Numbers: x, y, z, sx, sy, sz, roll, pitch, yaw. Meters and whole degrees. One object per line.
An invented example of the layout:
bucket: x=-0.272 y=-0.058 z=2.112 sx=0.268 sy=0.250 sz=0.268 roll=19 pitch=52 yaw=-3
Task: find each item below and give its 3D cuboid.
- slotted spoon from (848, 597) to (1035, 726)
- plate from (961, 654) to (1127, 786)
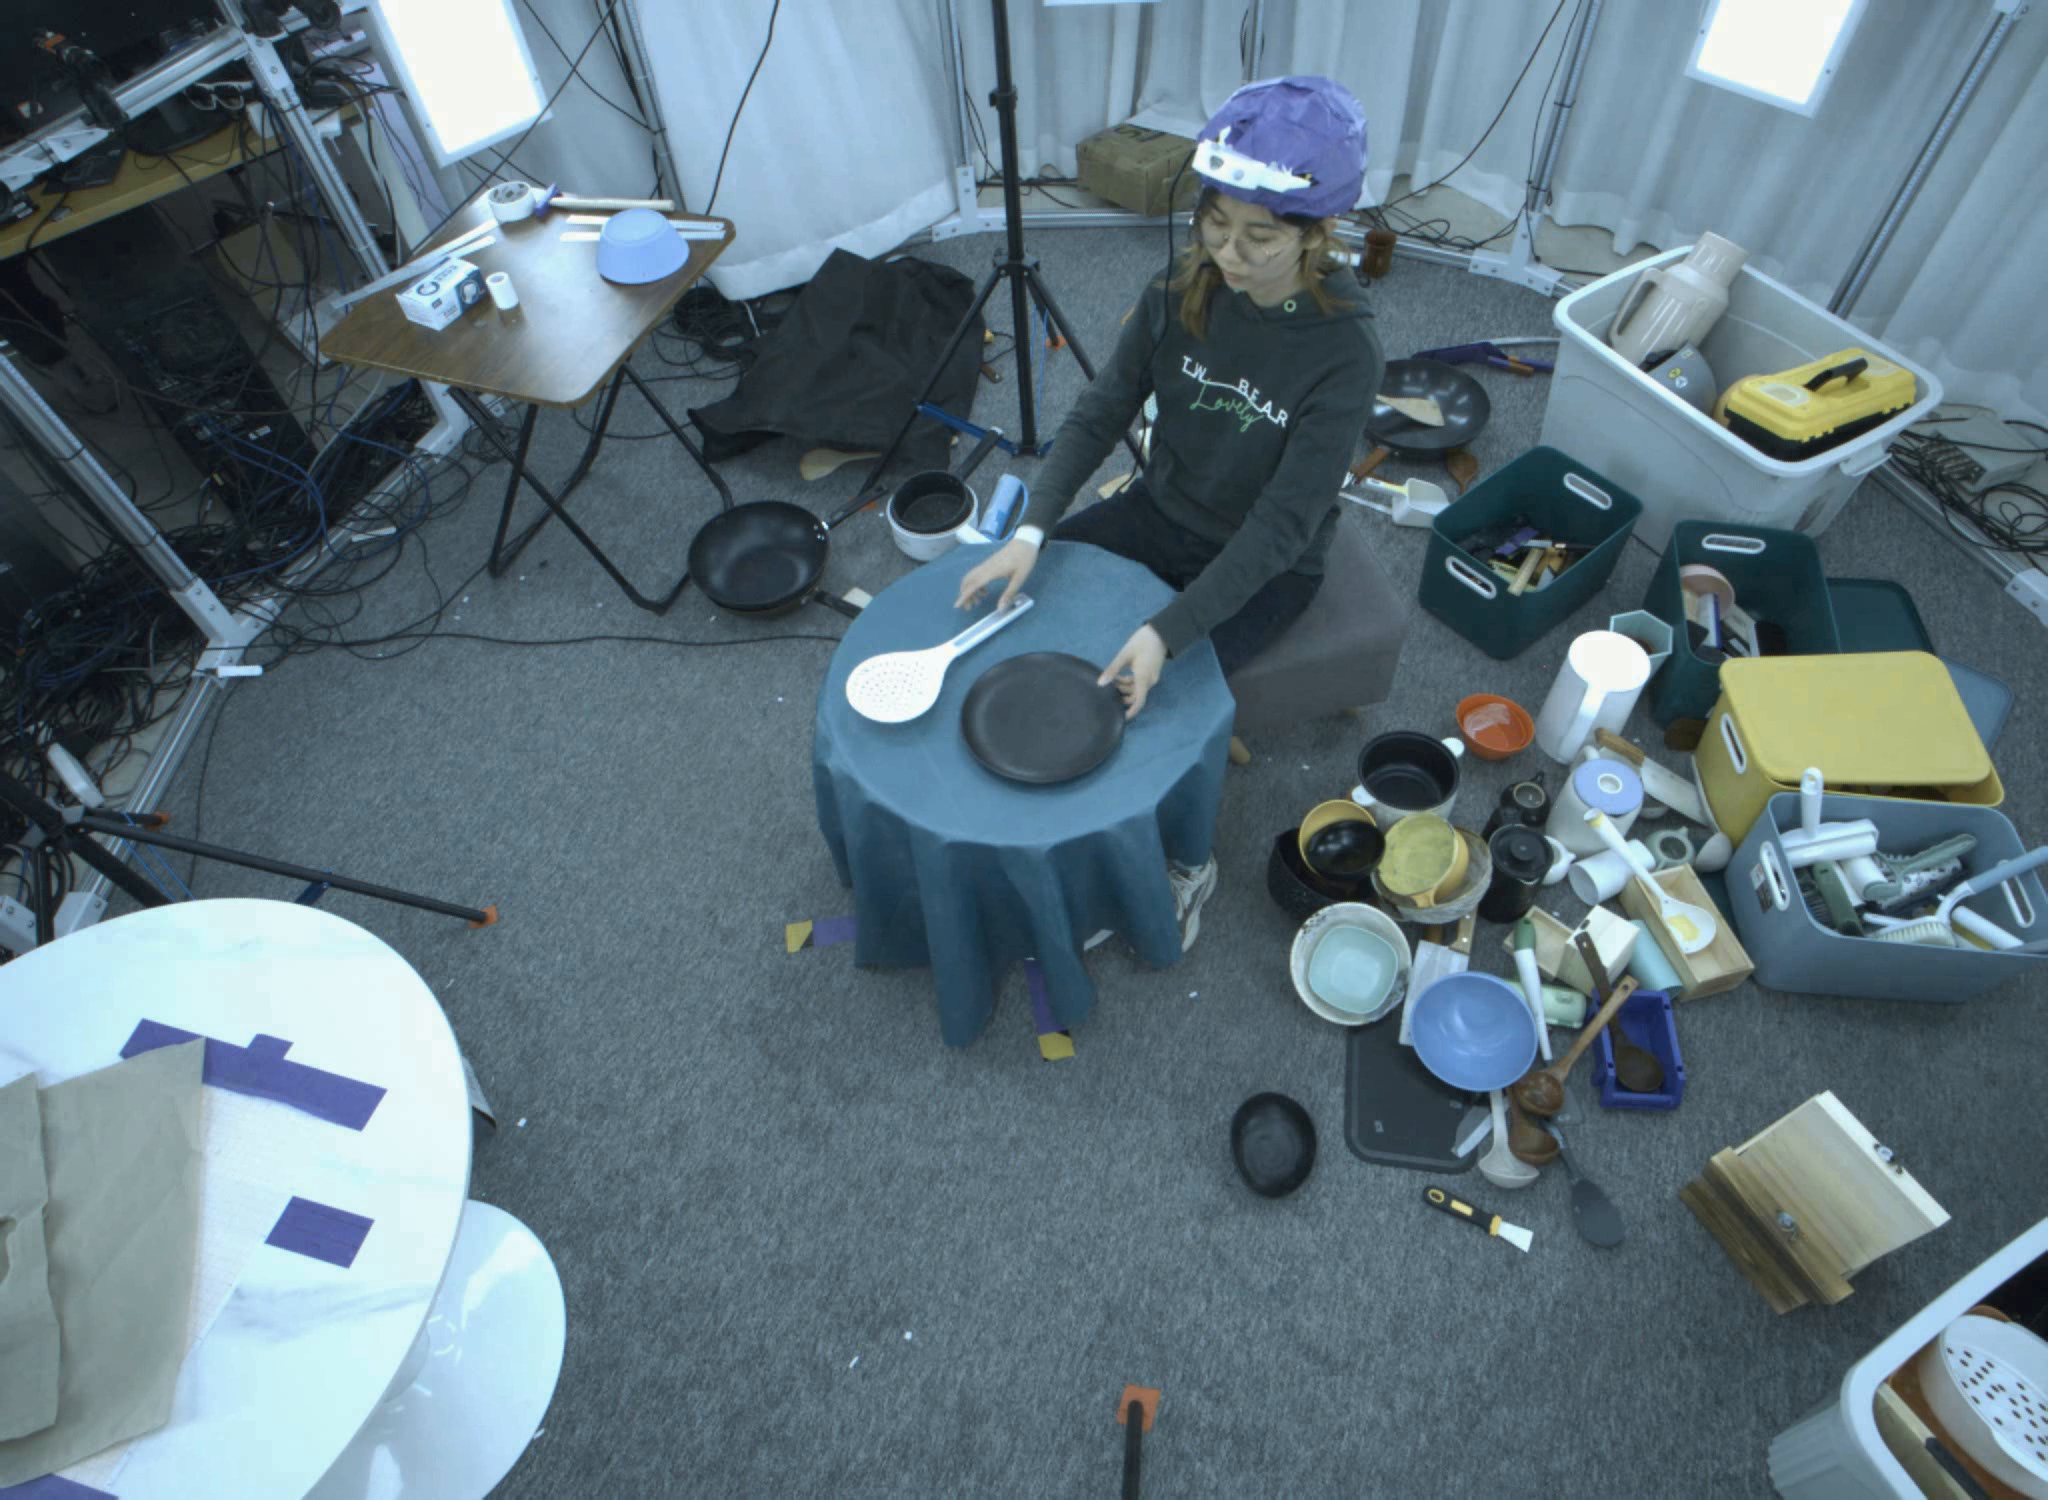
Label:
slotted spoon: x=-0.116 y=-0.143 z=1.874 sx=0.352 sy=0.046 sz=0.134 roll=-39 pitch=64 yaw=-24
plate: x=0.030 y=-0.042 z=1.812 sx=0.244 sy=0.024 sz=0.242 roll=0 pitch=55 yaw=2
